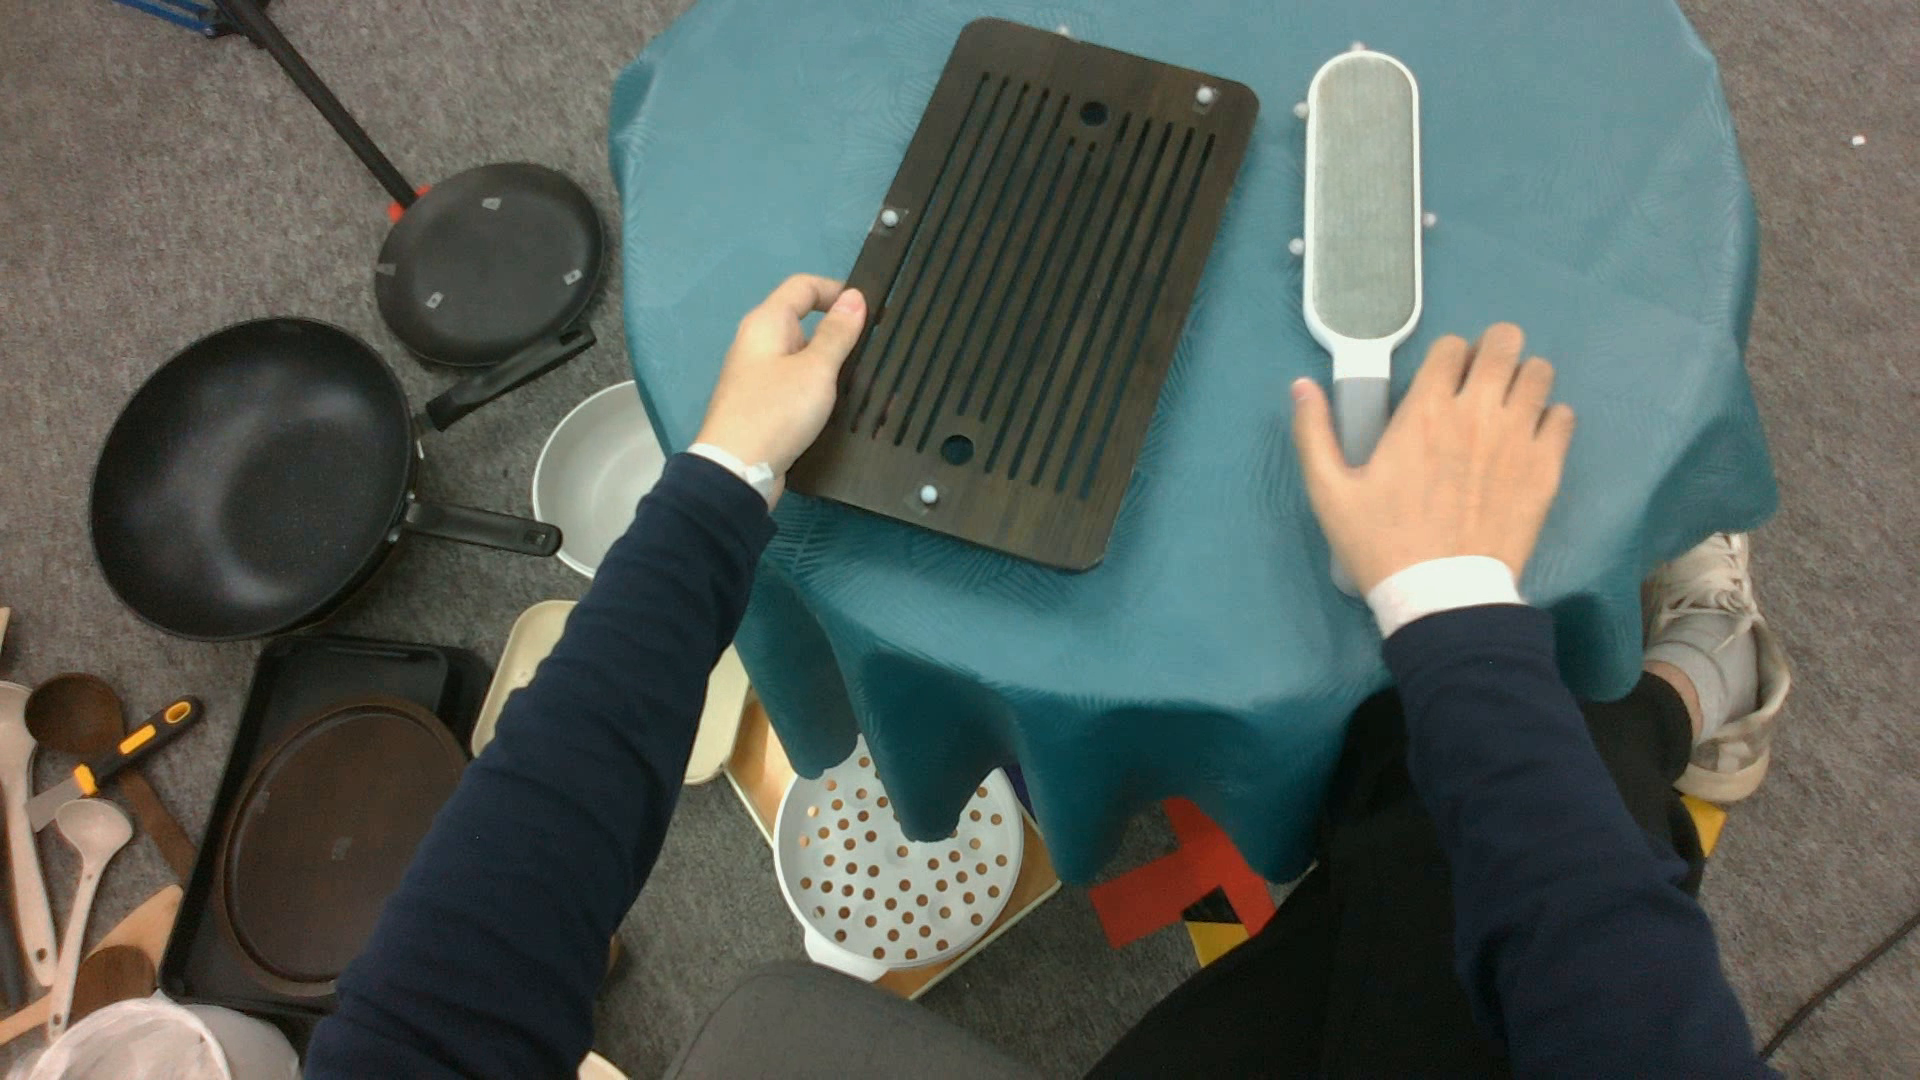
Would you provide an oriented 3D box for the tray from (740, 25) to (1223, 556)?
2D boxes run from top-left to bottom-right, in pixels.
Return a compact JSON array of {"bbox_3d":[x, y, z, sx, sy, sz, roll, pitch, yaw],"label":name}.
[{"bbox_3d":[0.019,-0.140,0.704,0.170,0.018,0.307,15,65,11],"label":"tray"}]

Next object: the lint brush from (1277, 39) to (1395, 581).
[{"bbox_3d":[0.189,-0.126,0.695,0.060,0.021,0.310,5,69,2],"label":"lint brush"}]
